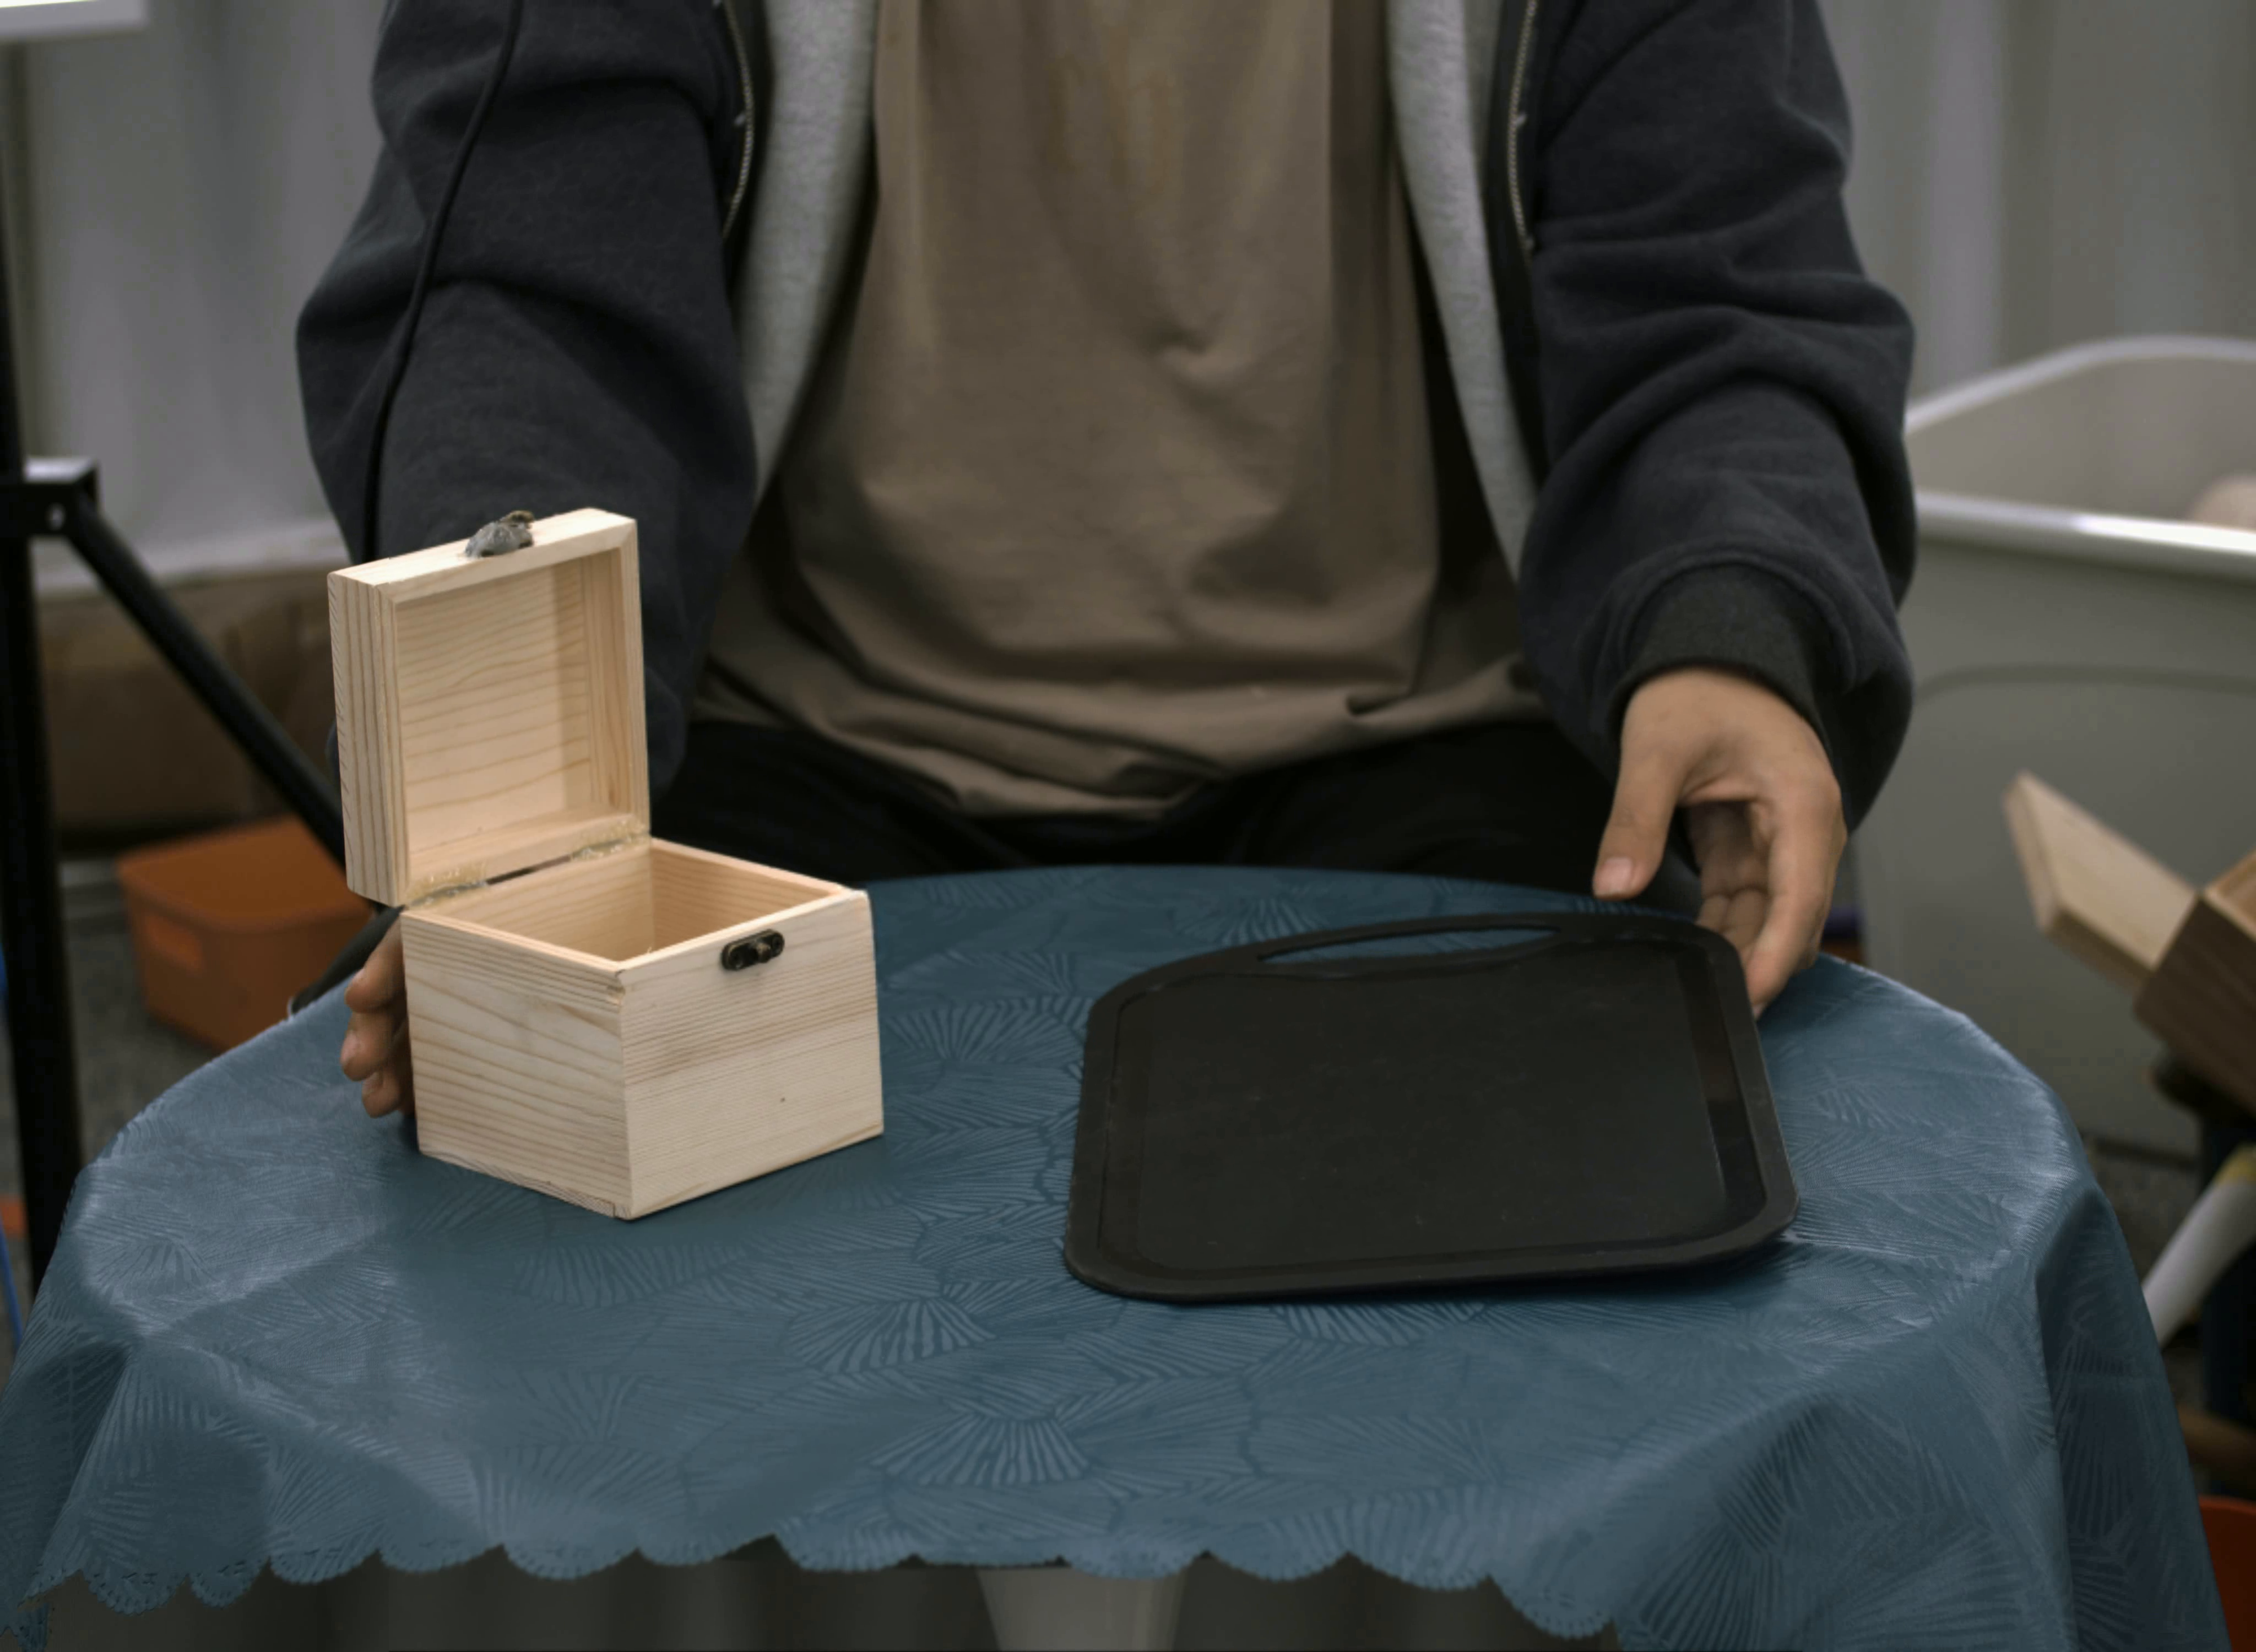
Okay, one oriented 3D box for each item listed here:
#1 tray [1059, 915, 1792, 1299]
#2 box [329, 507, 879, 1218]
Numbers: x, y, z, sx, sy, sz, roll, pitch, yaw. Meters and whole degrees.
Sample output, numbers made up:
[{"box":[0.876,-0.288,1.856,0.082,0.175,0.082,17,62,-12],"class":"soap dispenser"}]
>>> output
[{"box":[0.087,0.078,1.613,0.211,0.010,0.326,-5,17,4],"class":"tray"},{"box":[-0.156,0.007,1.607,0.100,0.184,0.137,-17,19,-42],"class":"box"}]
